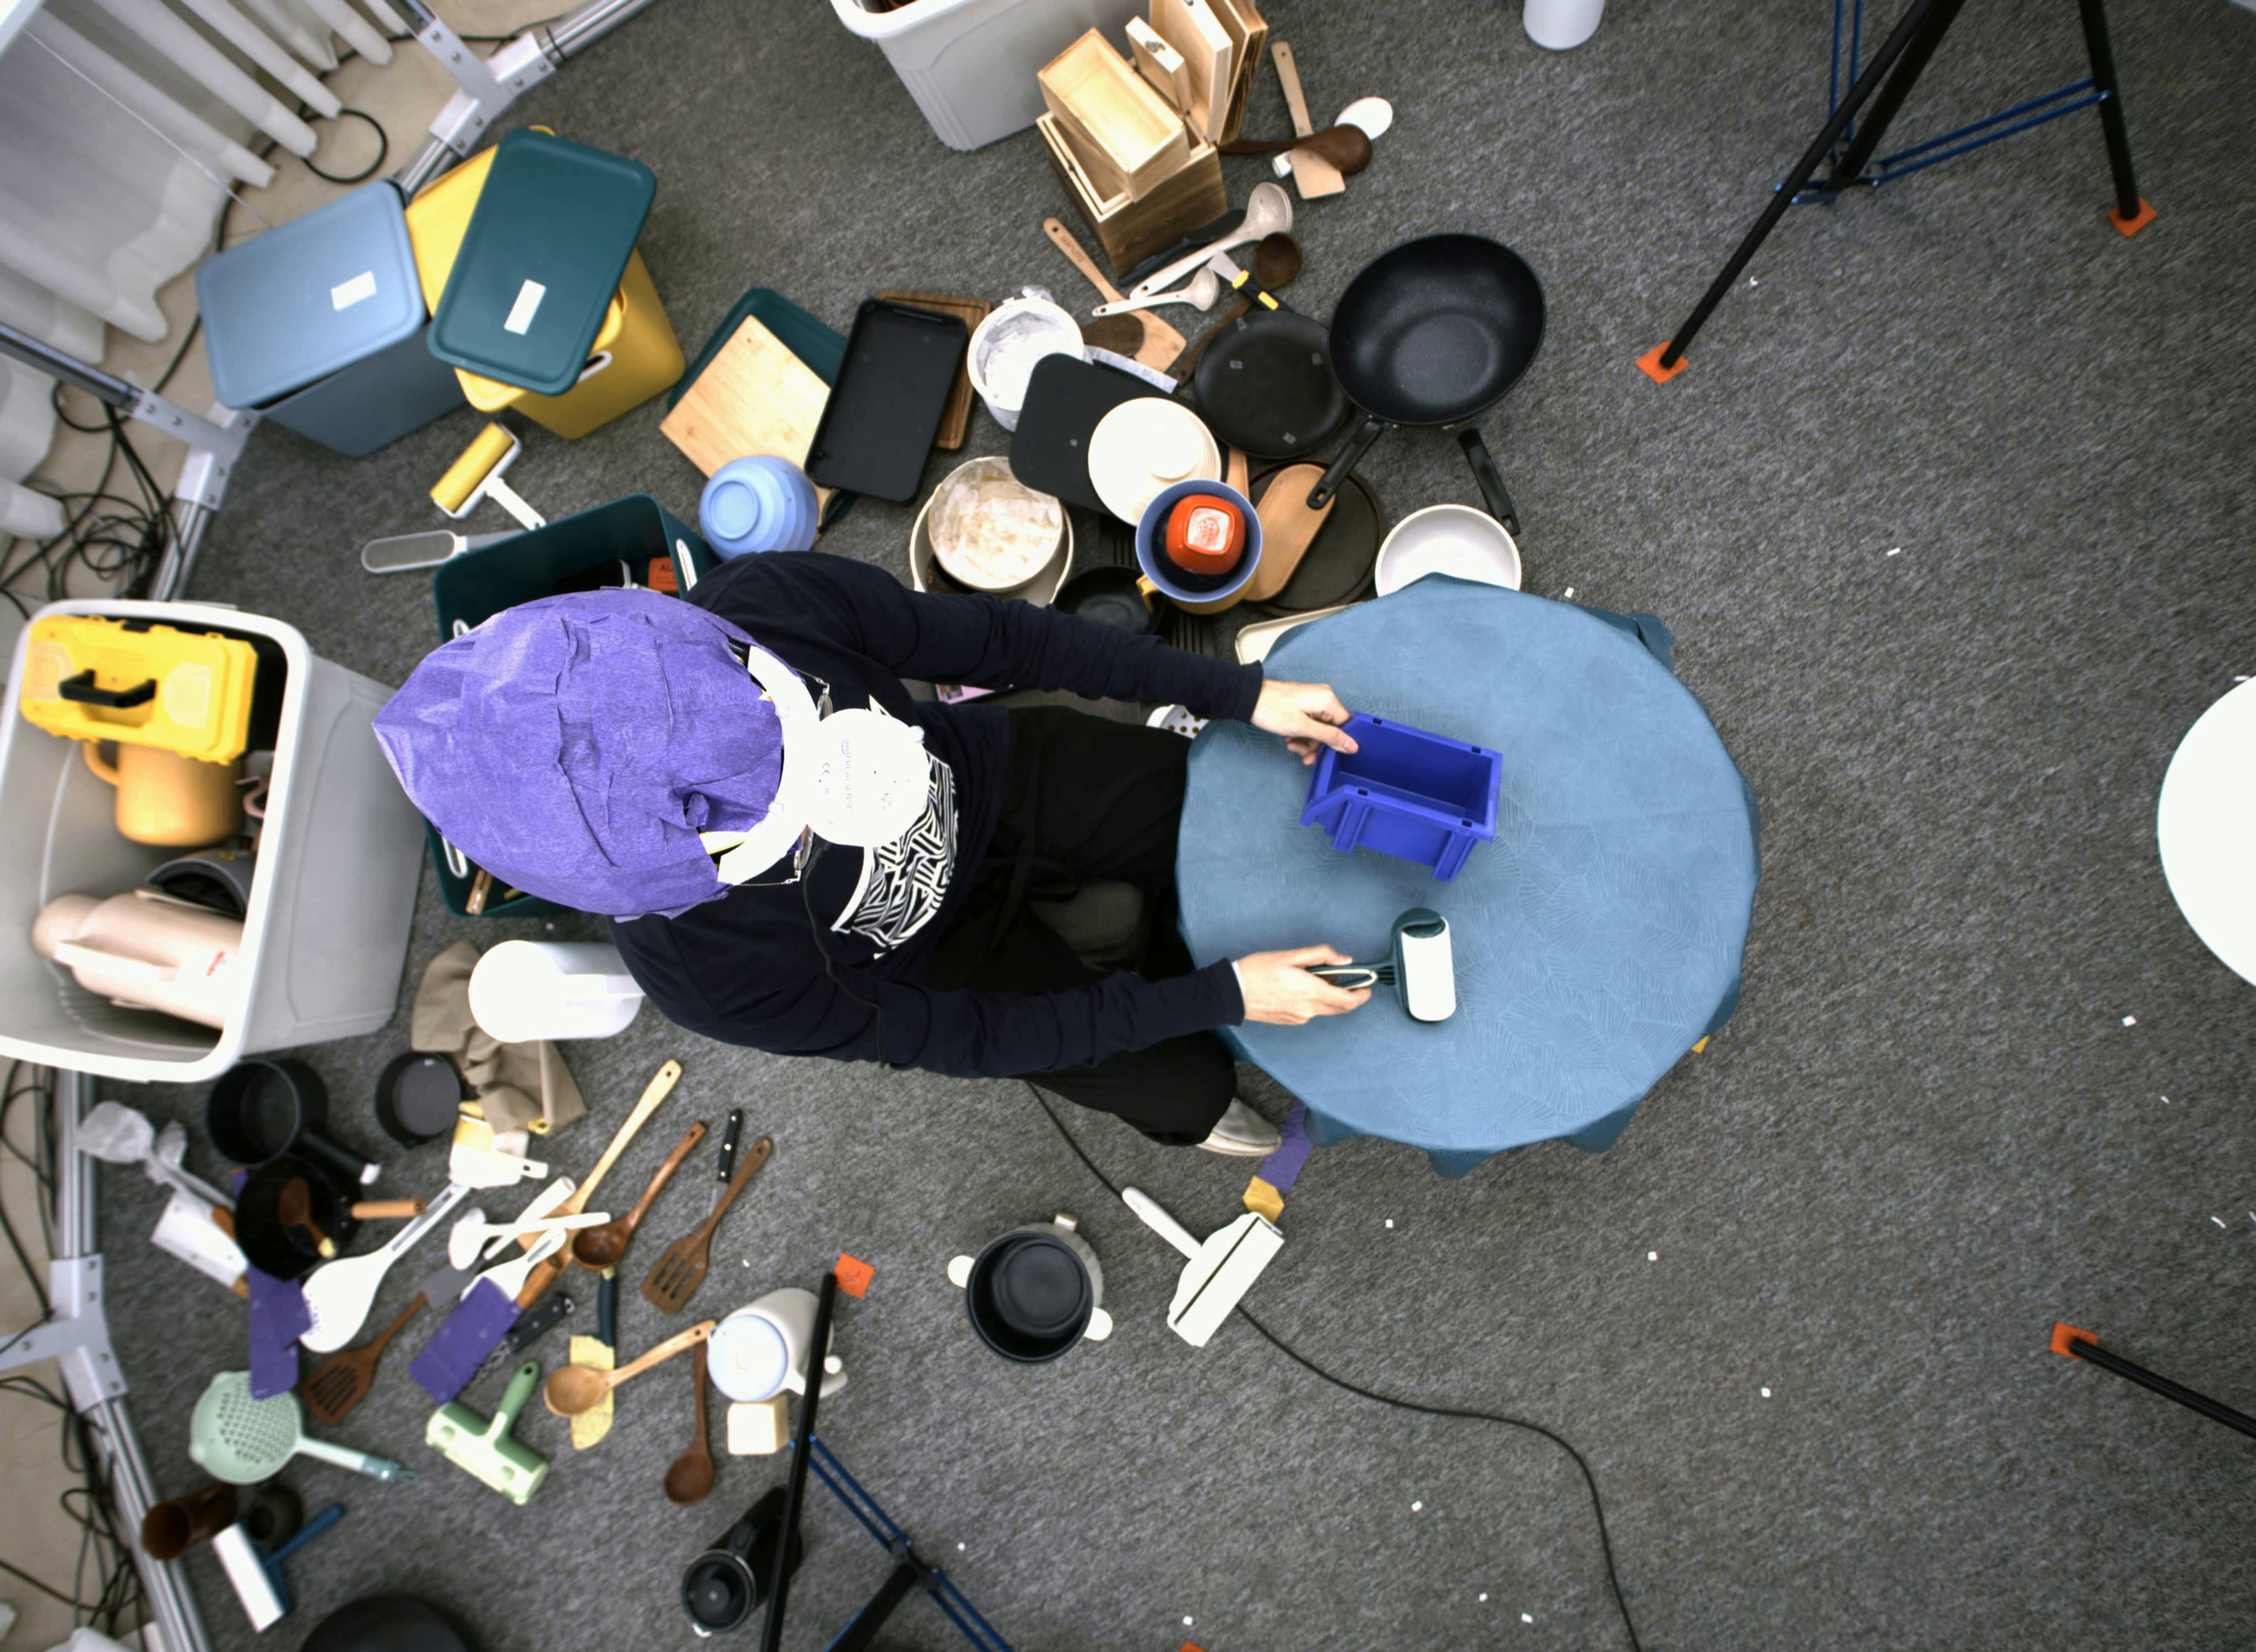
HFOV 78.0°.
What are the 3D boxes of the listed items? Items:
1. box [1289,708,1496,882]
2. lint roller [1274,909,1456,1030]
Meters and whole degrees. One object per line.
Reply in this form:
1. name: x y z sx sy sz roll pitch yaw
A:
1. box: 0.263 -0.034 1.385 0.179 0.084 0.121 20 51 2
2. lint roller: 0.240 0.155 1.407 0.180 0.047 0.137 -10 116 5
